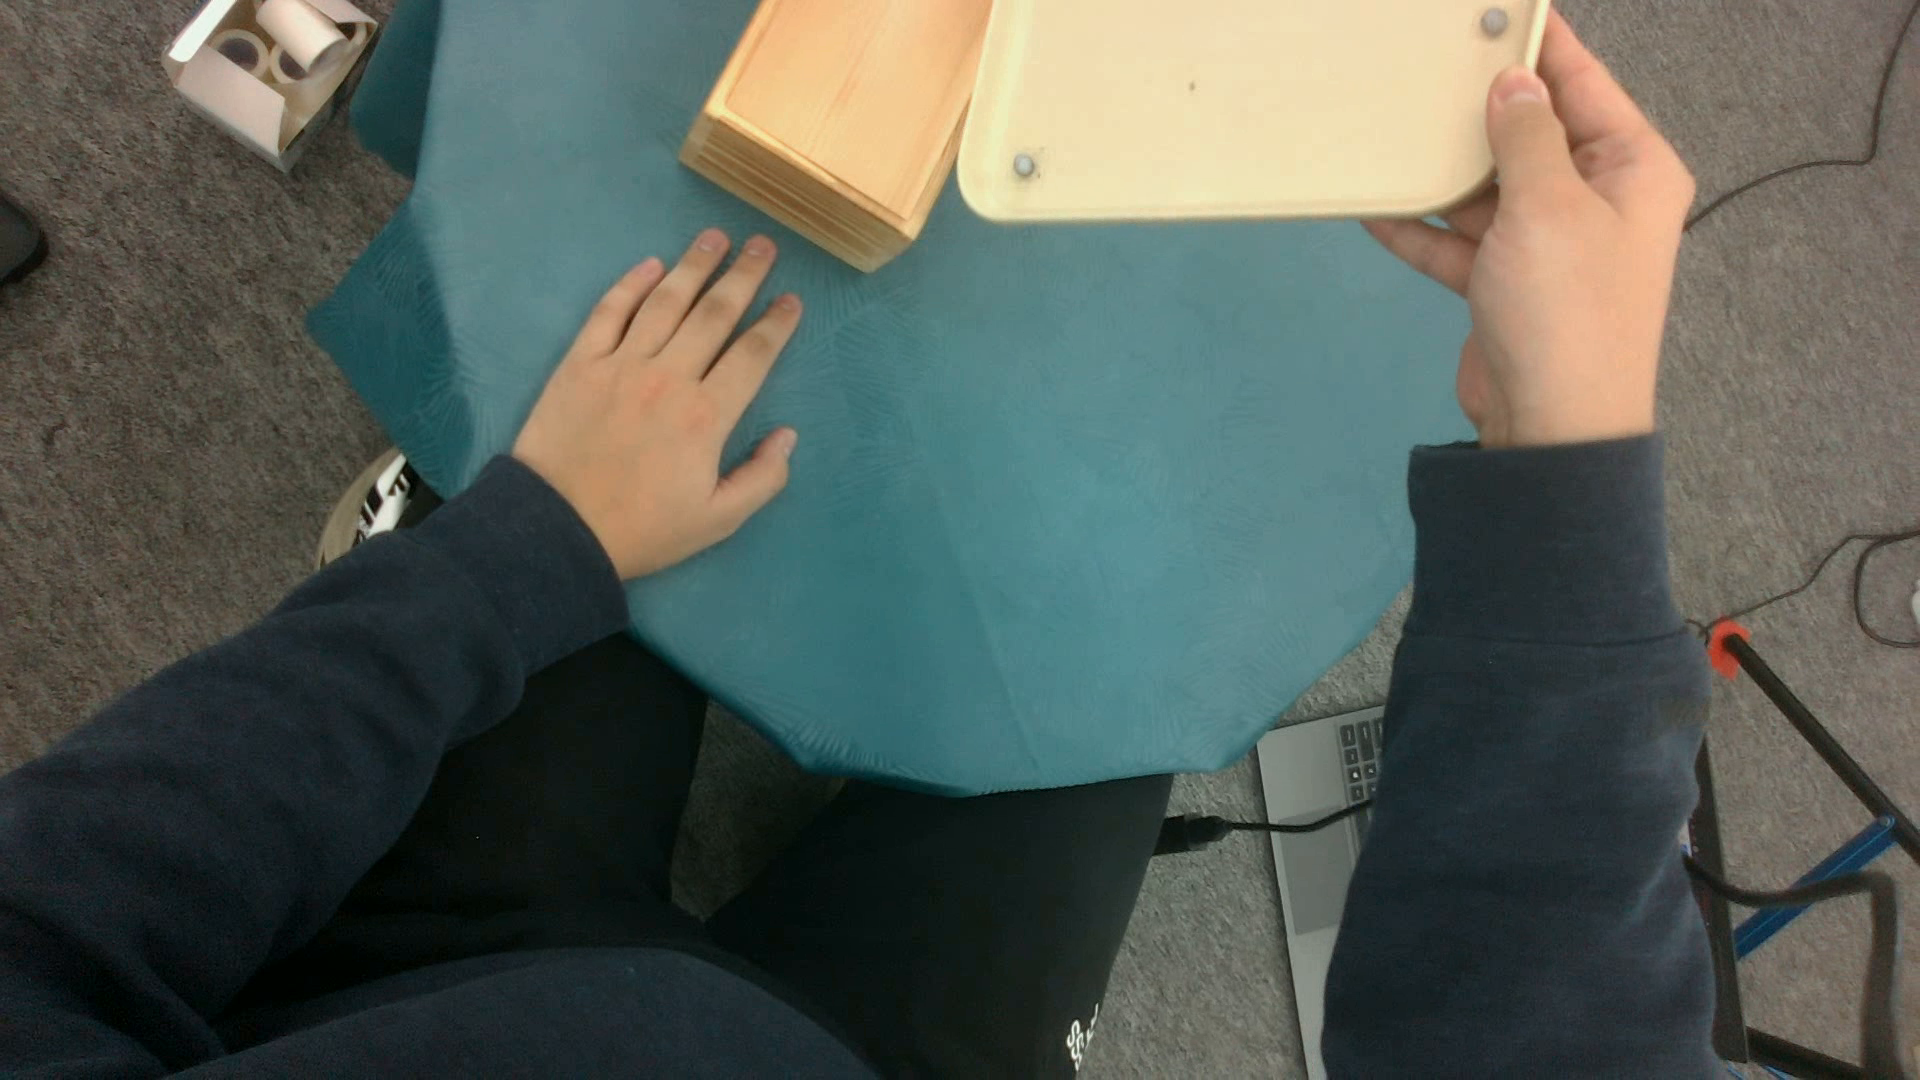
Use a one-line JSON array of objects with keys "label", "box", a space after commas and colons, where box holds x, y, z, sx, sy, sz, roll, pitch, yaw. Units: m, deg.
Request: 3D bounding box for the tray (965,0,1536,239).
[{"label": "tray", "box": [0.109, -0.201, 0.547, 0.017, 0.239, 0.171, 16, 85, -50]}]

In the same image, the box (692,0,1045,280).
[{"label": "box", "box": [-0.030, -0.248, 0.668, 0.107, 0.080, 0.212, 28, 80, -16]}]
